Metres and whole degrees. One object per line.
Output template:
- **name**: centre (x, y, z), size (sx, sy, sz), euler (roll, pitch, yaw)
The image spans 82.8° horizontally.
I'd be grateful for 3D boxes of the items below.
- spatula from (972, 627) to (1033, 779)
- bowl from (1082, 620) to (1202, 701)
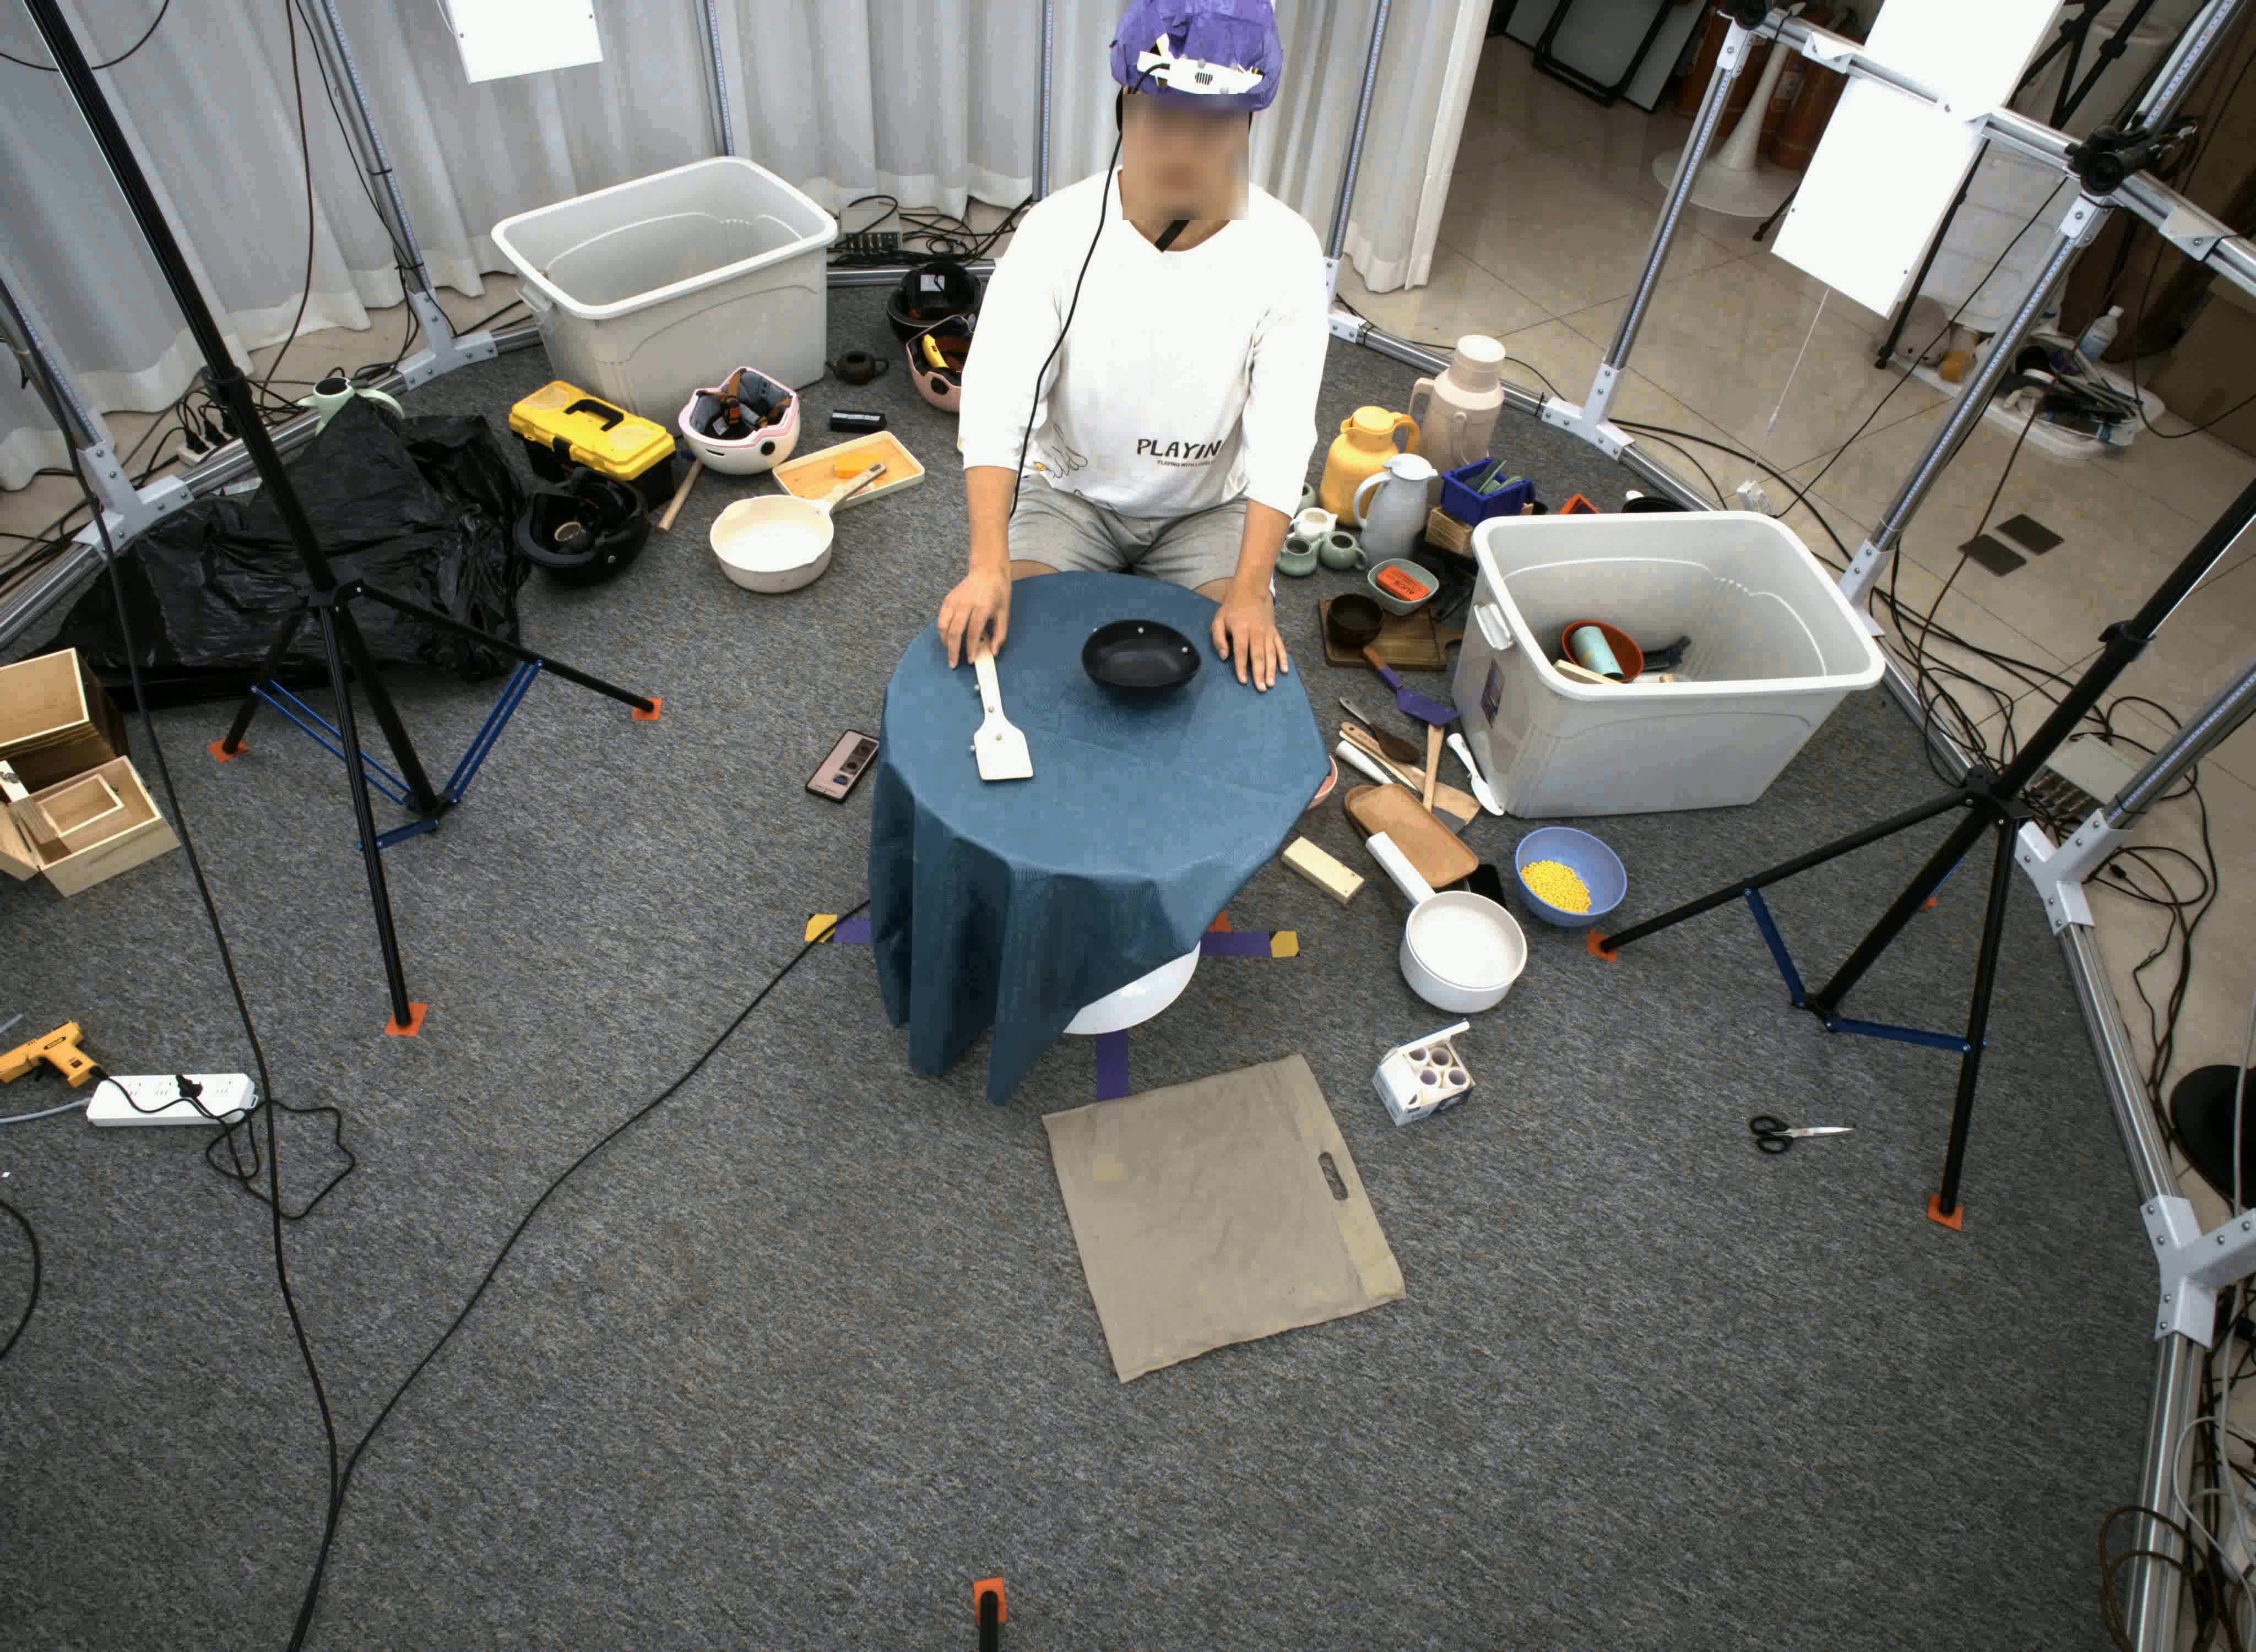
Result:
- **spatula**: centre (-0.189, -0.177, 1.795), size (0.072, 0.010, 0.300), euler (-5, 51, -11)
- **bowl**: centre (0.018, -0.225, 1.820), size (0.170, 0.065, 0.141), euler (-3, 49, -10)
